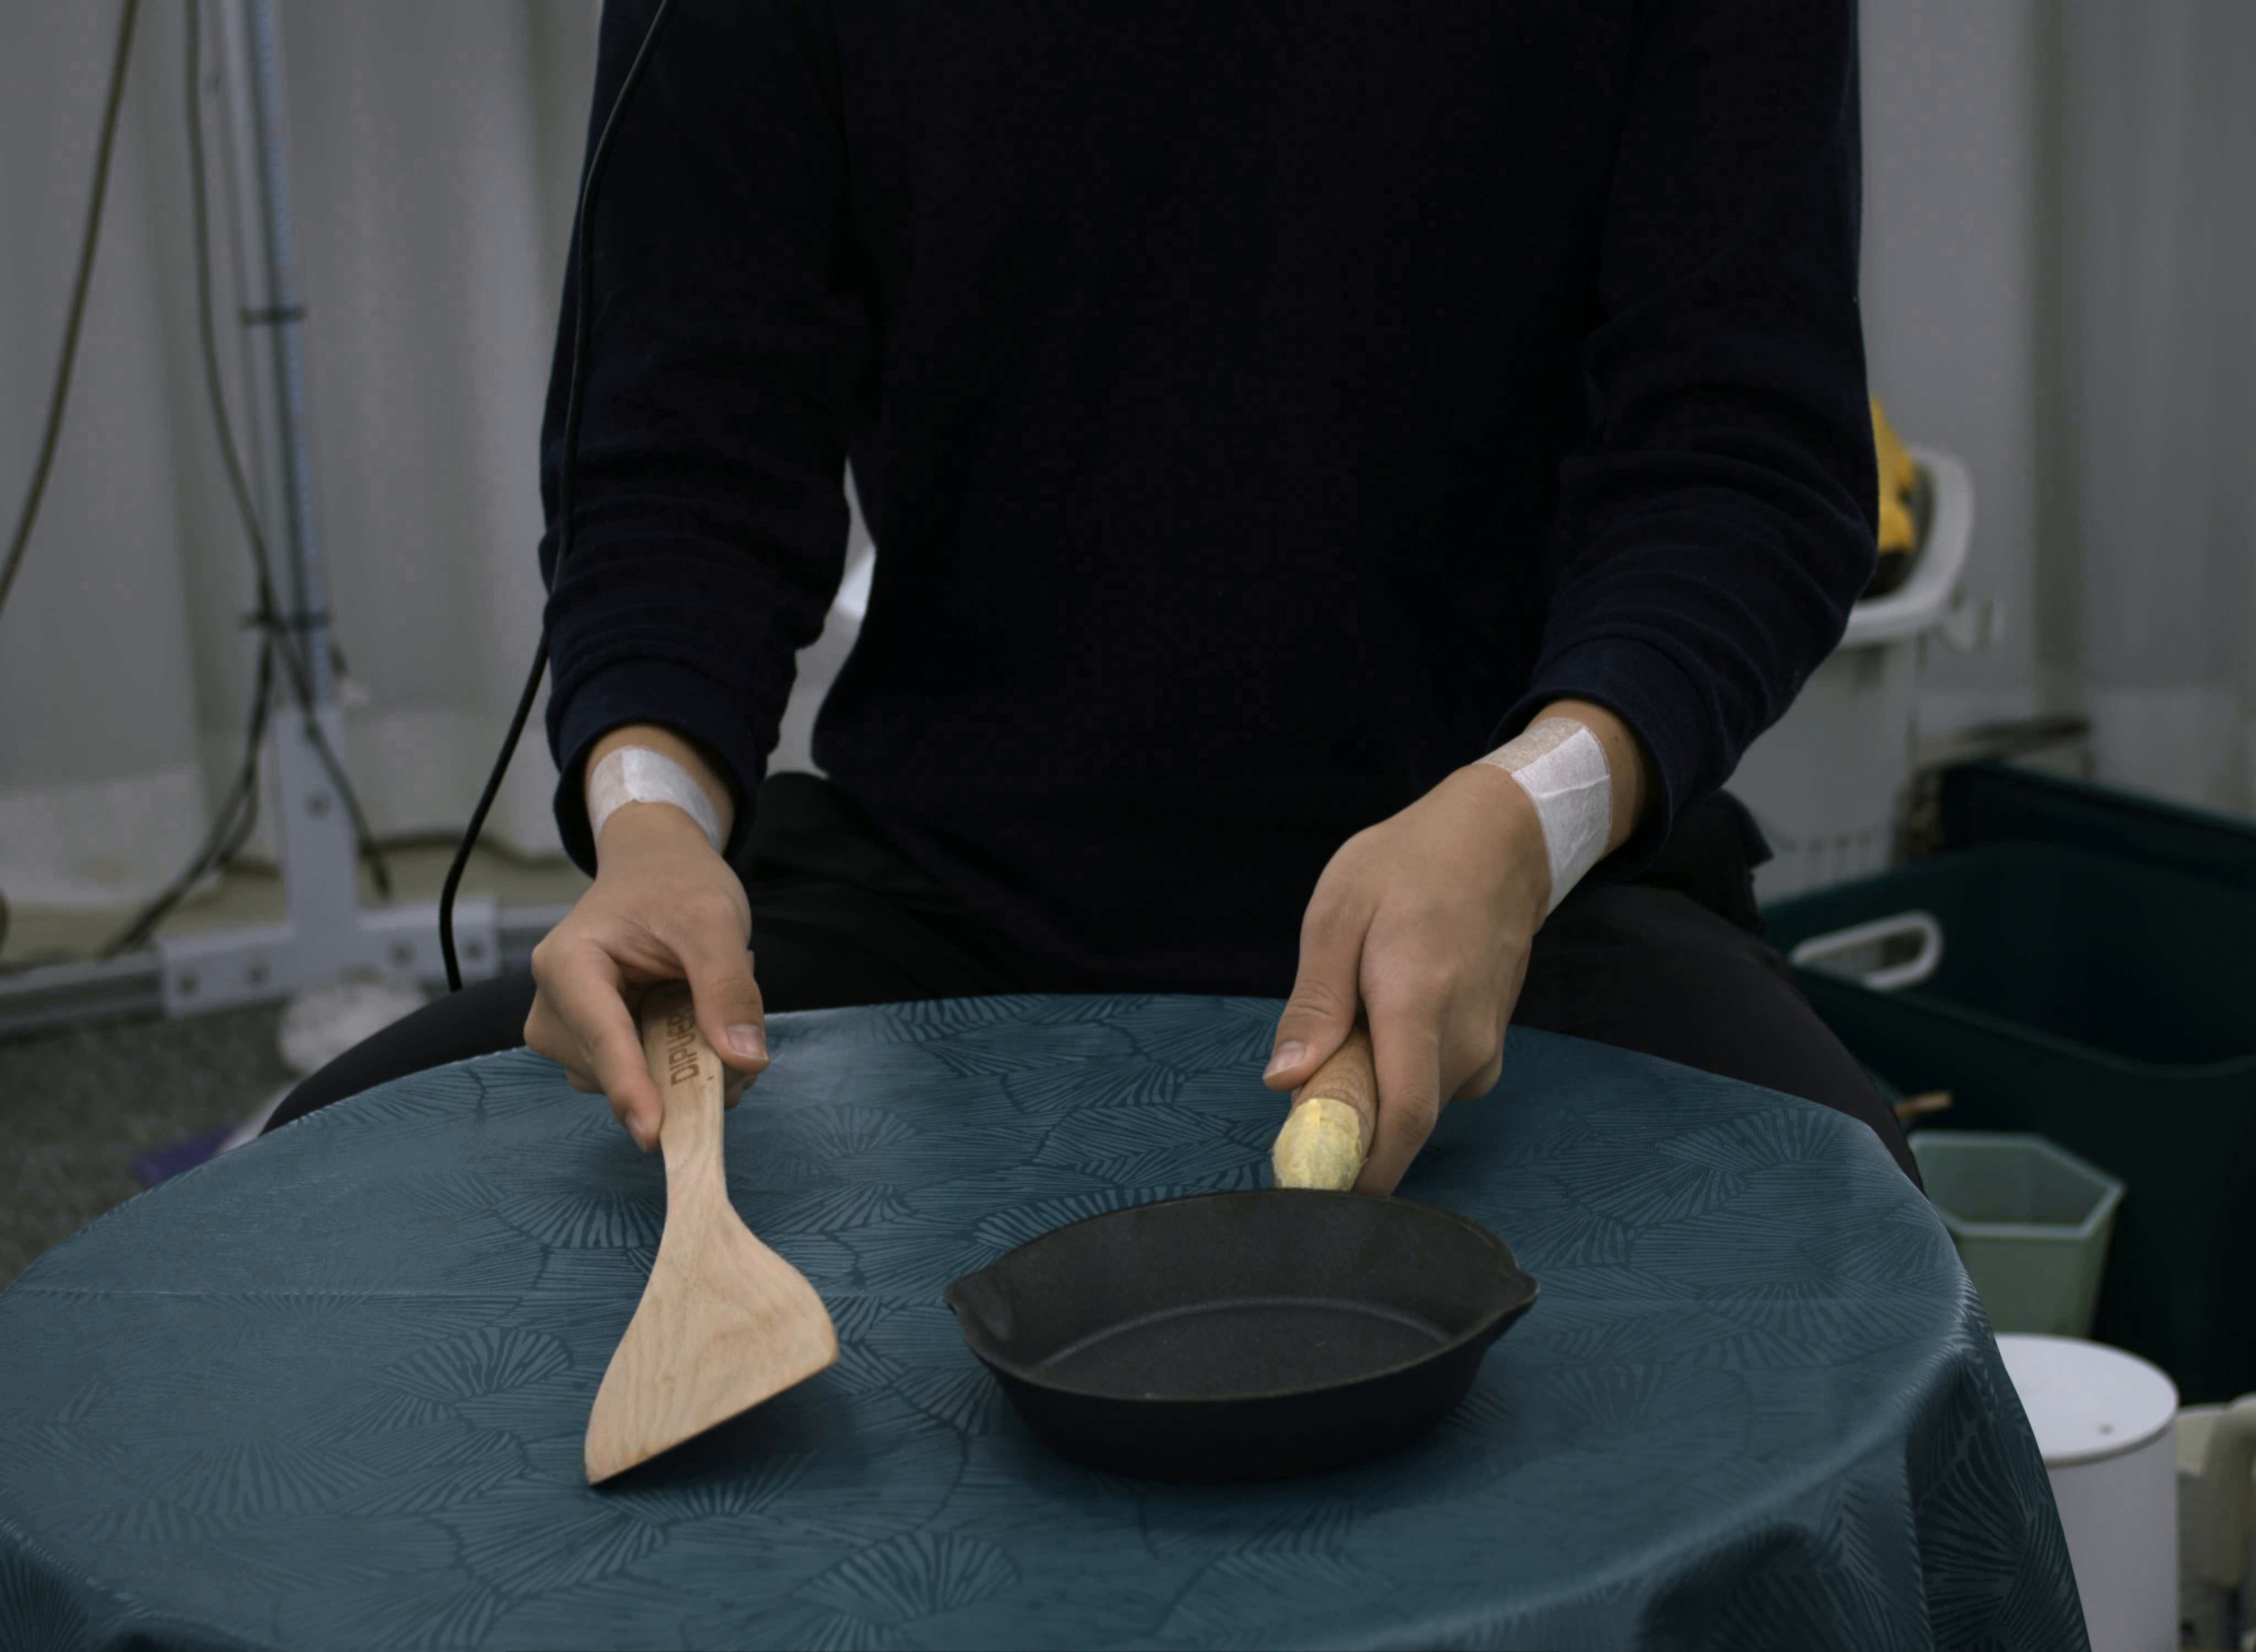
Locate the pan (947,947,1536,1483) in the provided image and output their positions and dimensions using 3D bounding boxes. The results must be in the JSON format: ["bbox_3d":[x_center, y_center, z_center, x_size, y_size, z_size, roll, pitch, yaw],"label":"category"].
[{"bbox_3d":[0.053,0.110,1.603,0.169,0.049,0.326,-1,18,16],"label":"pan"}]

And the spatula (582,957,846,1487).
[{"bbox_3d":[-0.129,0.107,1.637,0.080,0.016,0.331,-23,24,3],"label":"spatula"}]
